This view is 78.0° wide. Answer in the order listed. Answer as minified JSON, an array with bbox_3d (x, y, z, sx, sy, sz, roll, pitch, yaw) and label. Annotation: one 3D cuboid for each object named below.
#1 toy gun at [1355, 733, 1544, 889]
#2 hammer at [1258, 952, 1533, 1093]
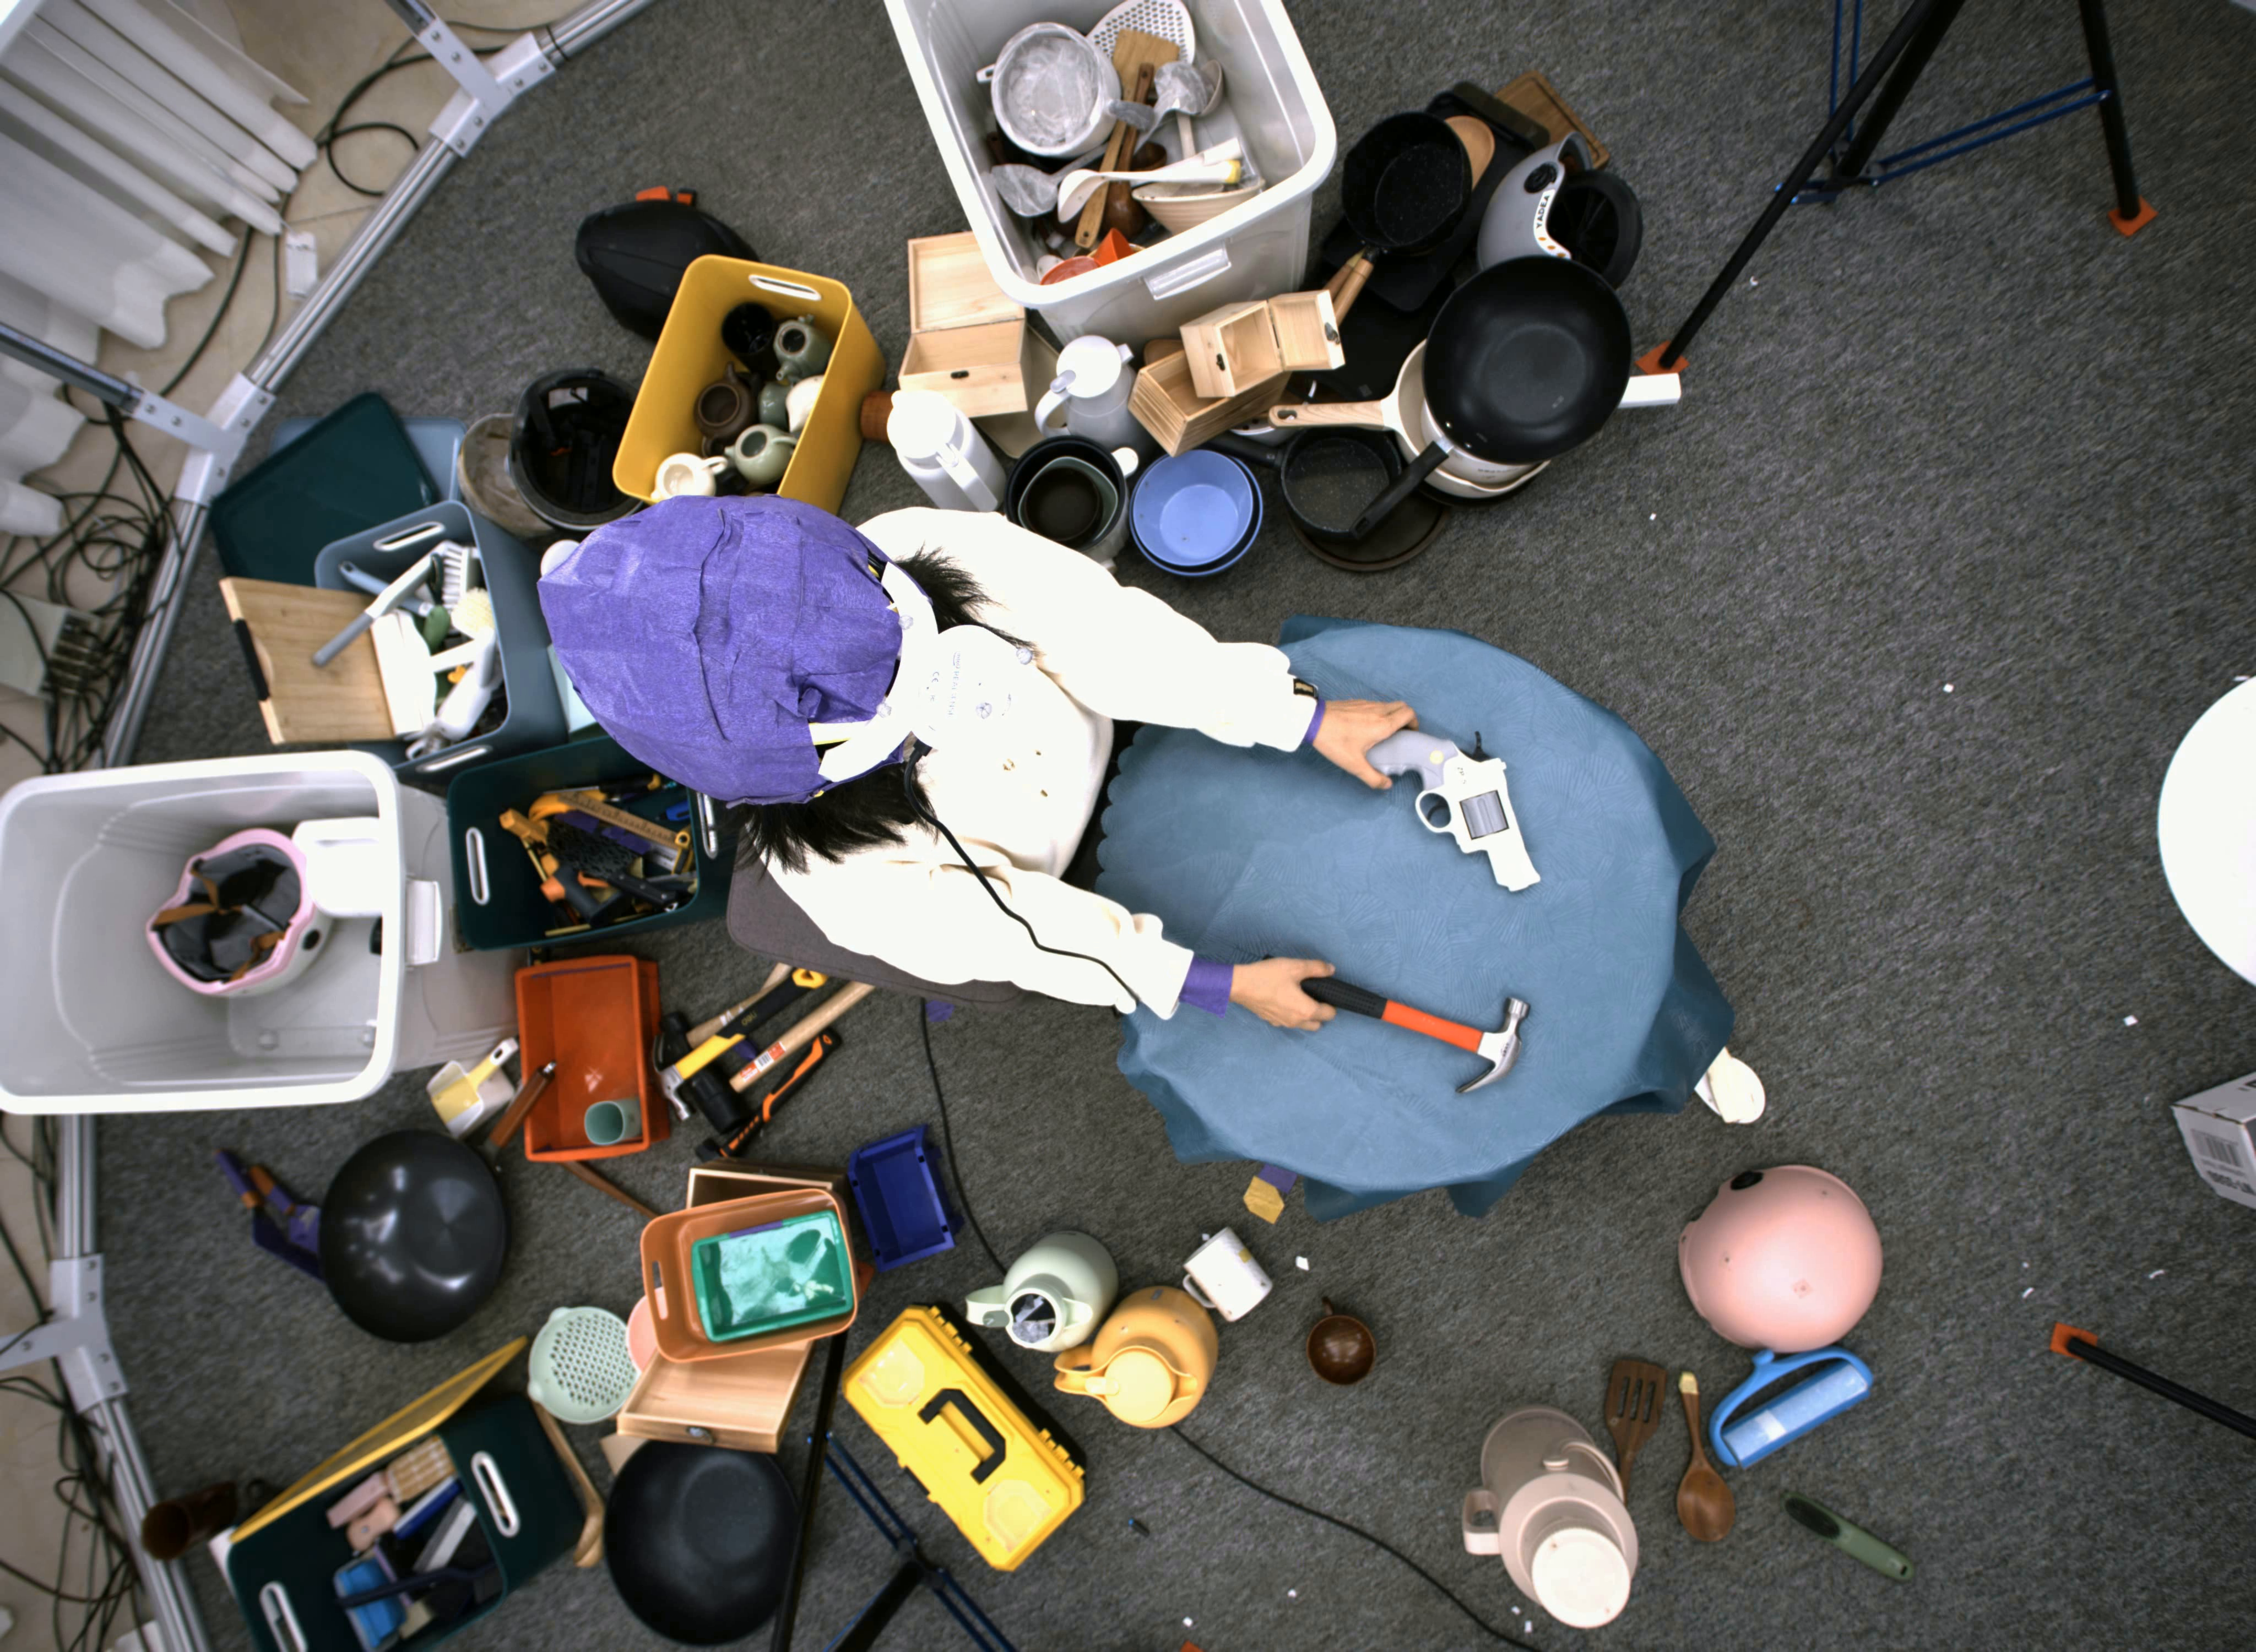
[{"bbox_3d":[0.331,-0.020,1.431,0.142,0.038,0.208,-21,89,9],"label":"toy gun"},{"bbox_3d":[0.268,0.190,1.427,0.277,0.026,0.112,19,101,6],"label":"hammer"}]
